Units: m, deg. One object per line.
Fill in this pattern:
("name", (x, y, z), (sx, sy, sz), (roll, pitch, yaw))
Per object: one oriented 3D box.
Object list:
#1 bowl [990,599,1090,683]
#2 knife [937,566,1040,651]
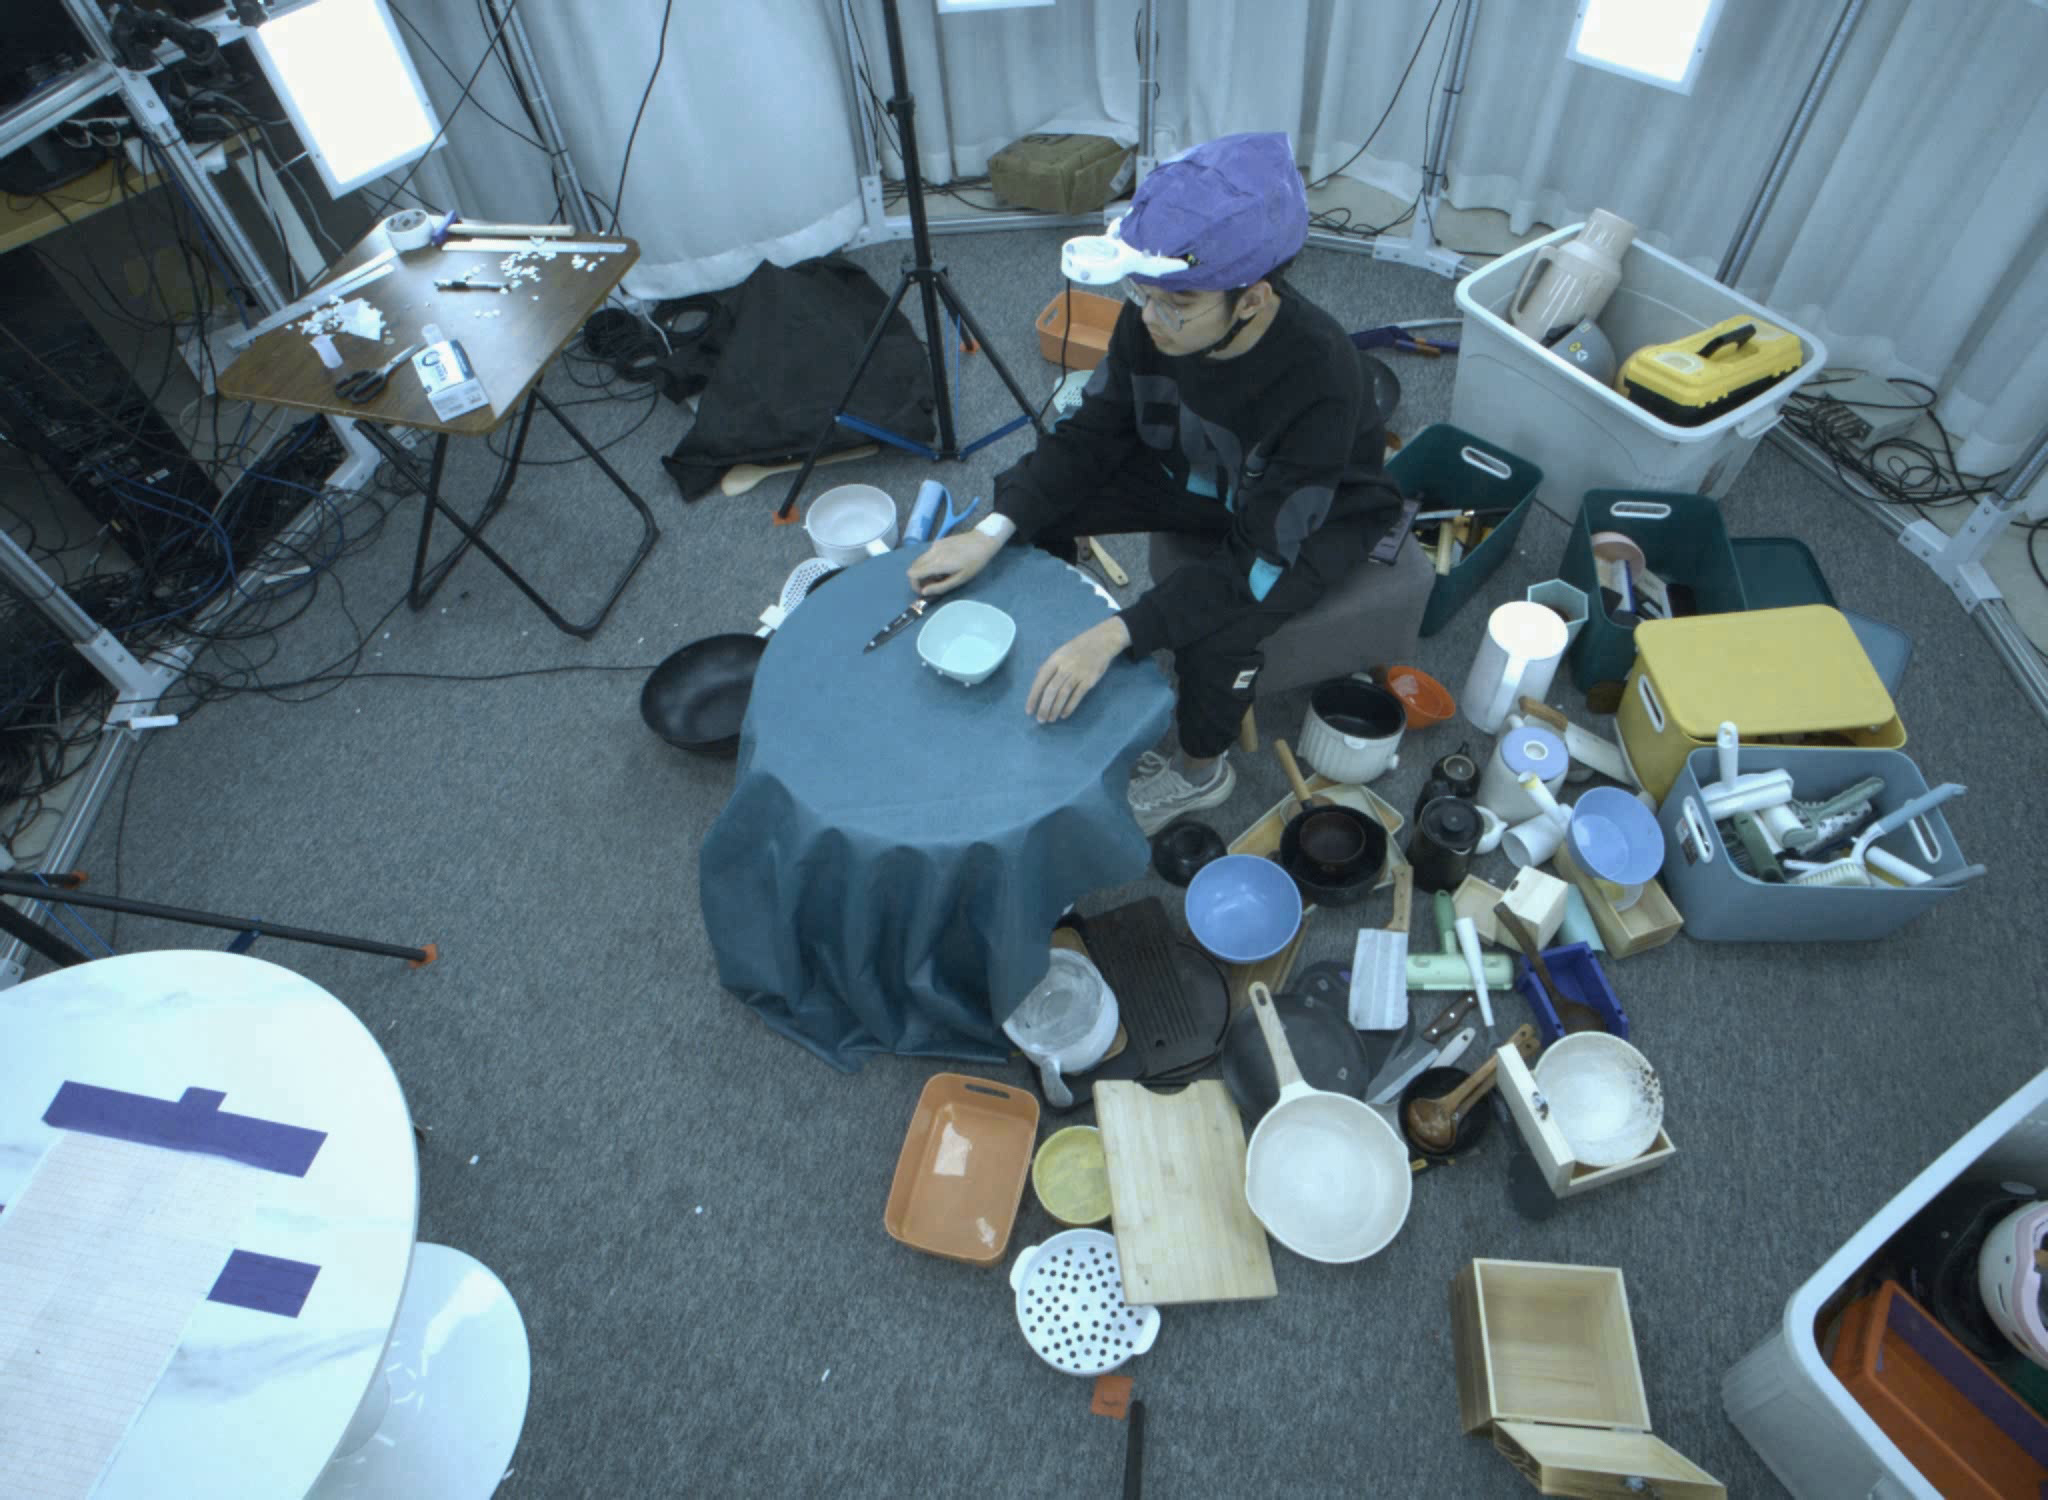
("bowl", (0.026, -0.155, 1.862), (0.151, 0.059, 0.150), (-1, 54, 3))
("knife", (-0.058, -0.225, 1.942), (0.227, 0.017, 0.026), (-40, 73, -22))
